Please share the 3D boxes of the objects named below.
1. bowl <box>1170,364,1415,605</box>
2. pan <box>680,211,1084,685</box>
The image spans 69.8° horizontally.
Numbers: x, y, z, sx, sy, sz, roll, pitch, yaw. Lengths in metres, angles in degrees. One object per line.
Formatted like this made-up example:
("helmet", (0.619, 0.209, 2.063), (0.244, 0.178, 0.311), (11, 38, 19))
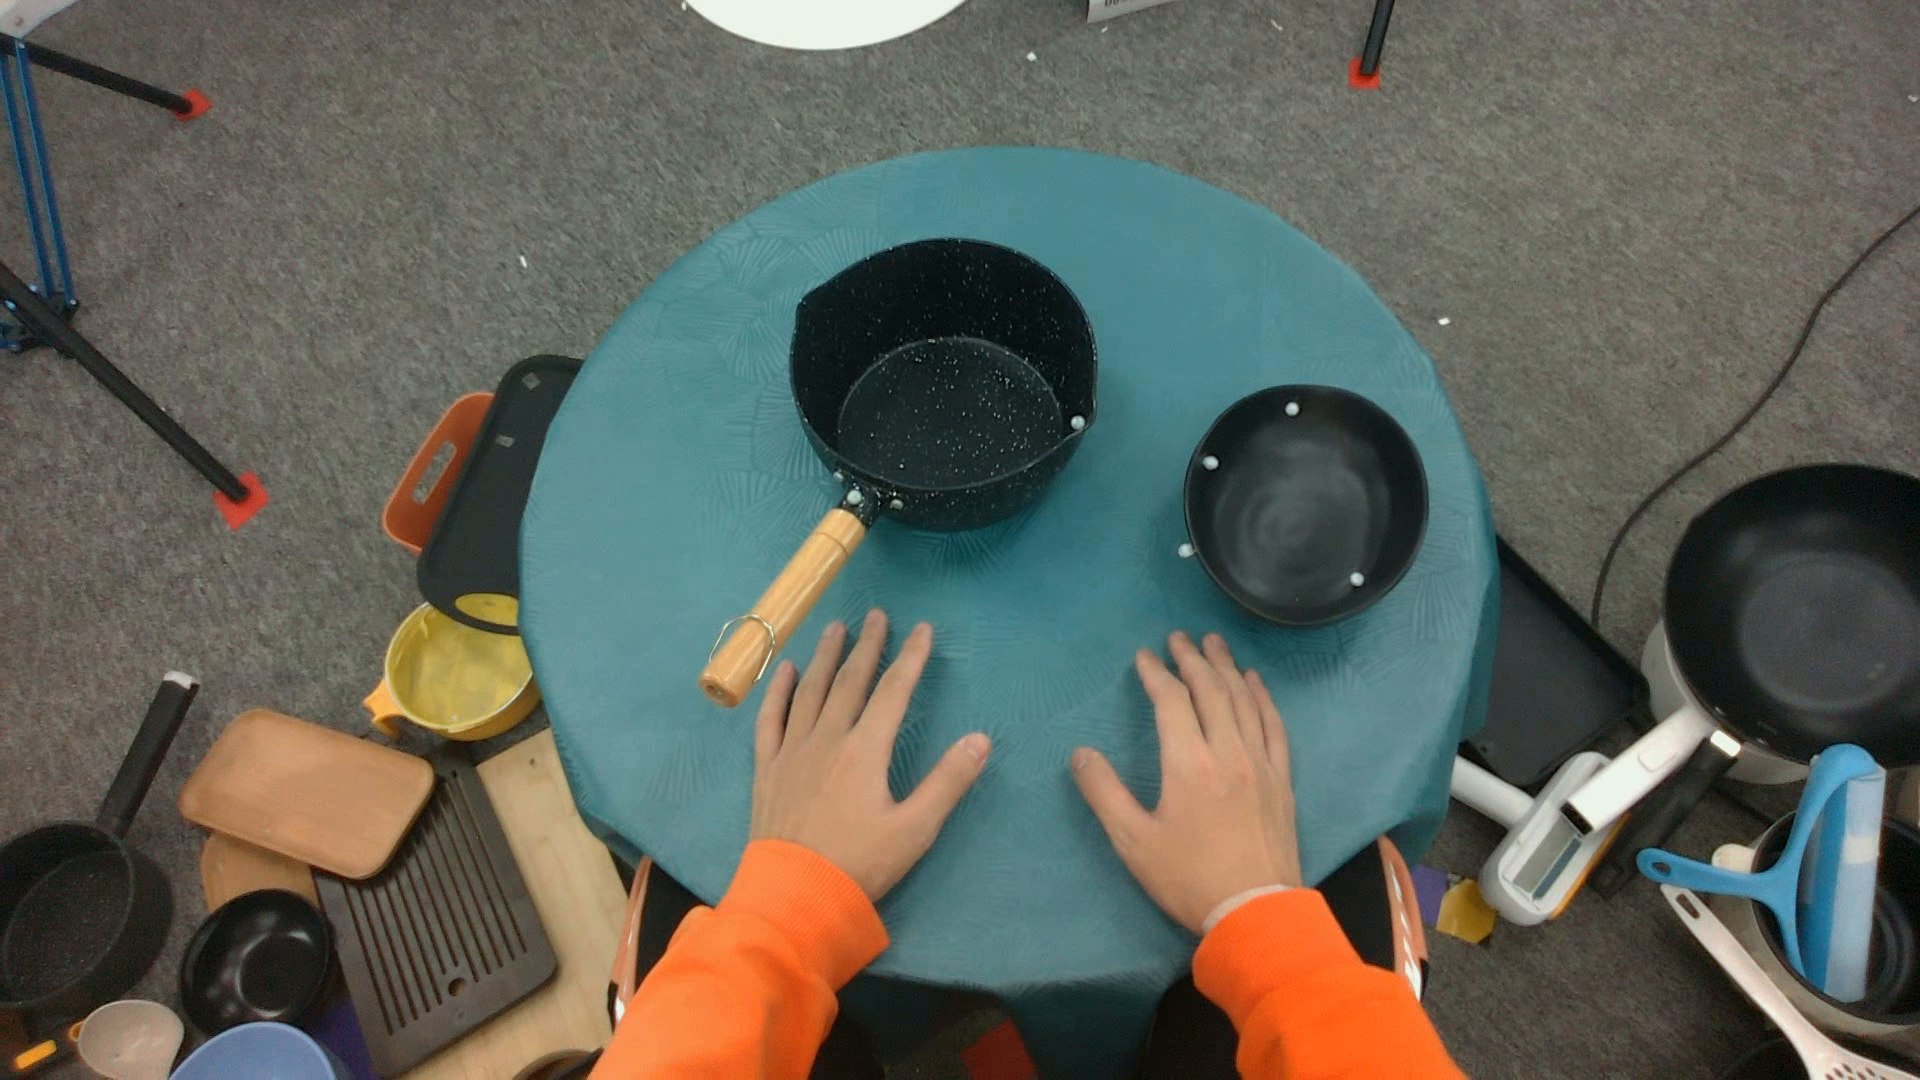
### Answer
("bowl", (0.192, -0.028, 0.815), (0.137, 0.066, 0.171), (16, 62, 10))
("pan", (-0.053, -0.044, 0.808), (0.207, 0.108, 0.344), (23, 64, 12))
